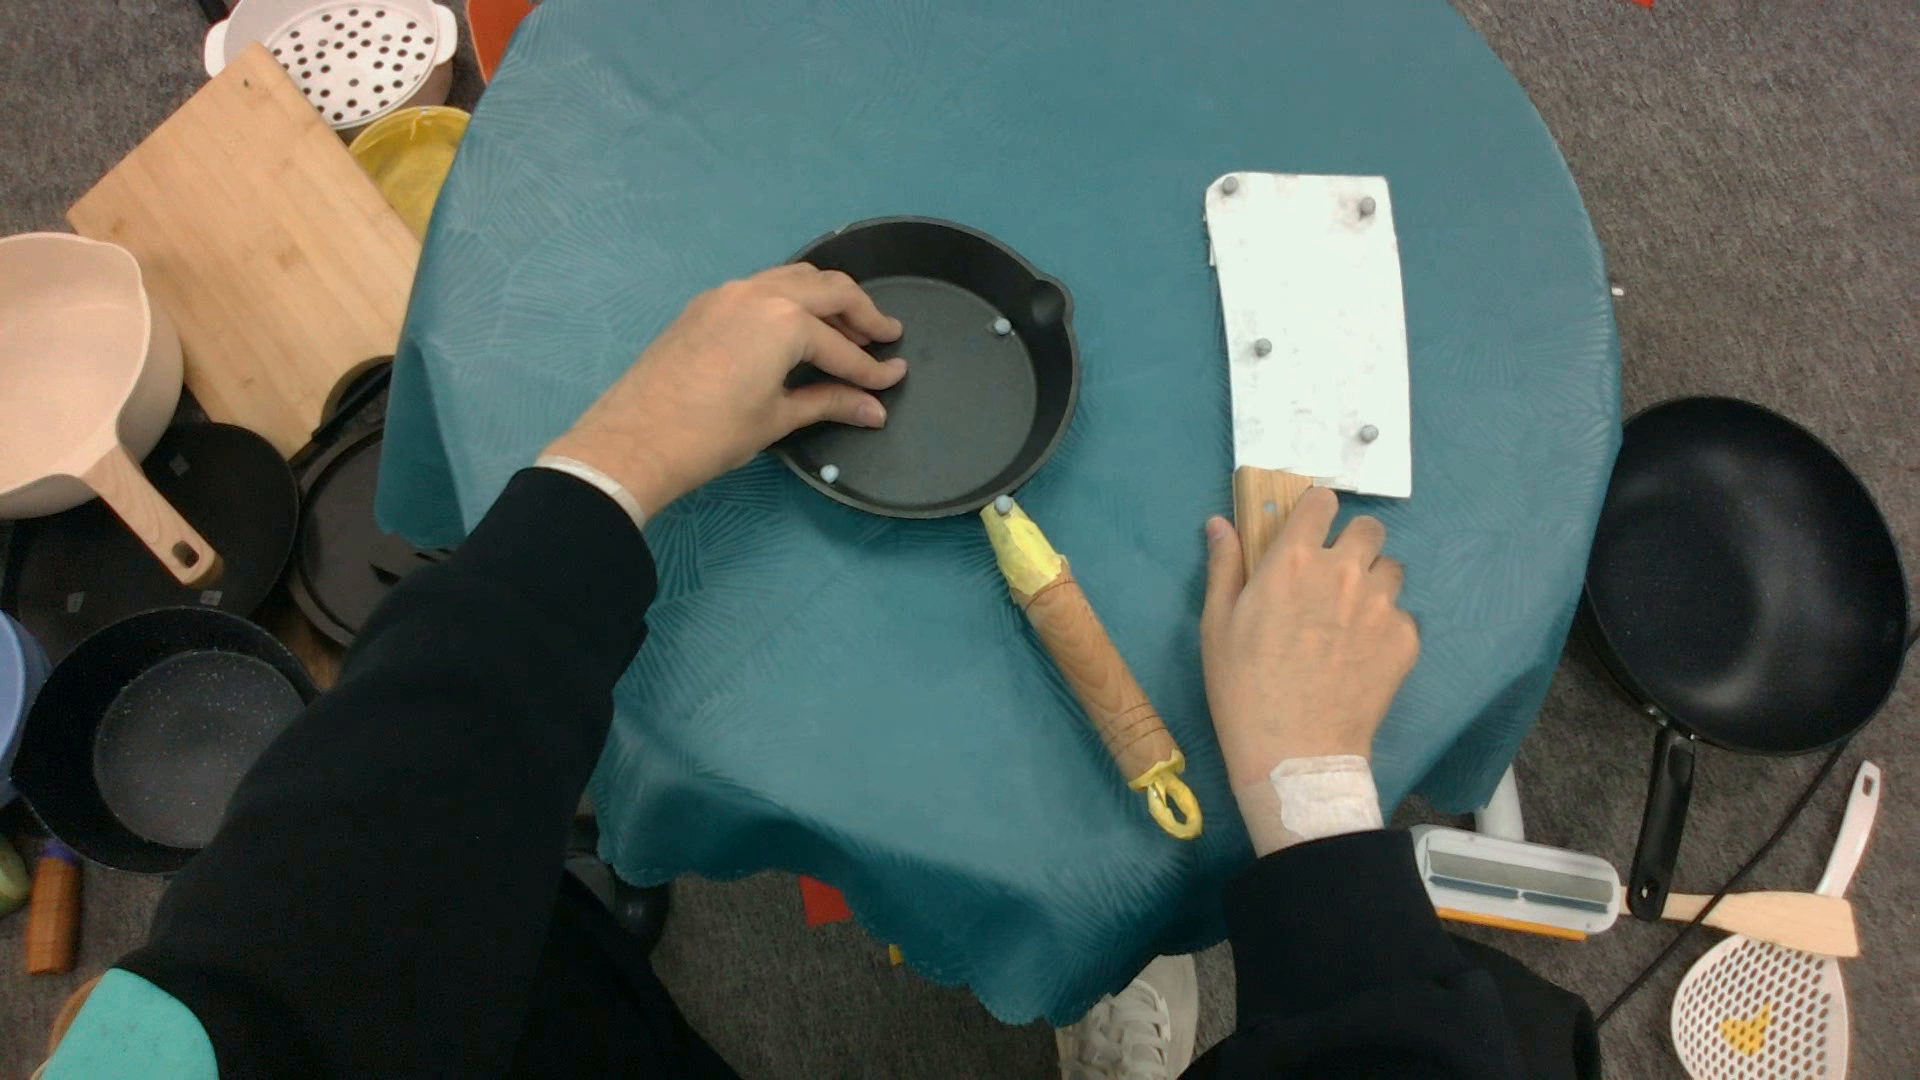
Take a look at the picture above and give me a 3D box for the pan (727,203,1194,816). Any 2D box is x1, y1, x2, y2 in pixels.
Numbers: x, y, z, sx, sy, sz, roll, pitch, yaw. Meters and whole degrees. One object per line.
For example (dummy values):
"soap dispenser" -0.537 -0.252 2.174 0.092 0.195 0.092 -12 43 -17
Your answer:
"pan" 0.011 -0.016 0.621 0.169 0.049 0.324 -25 73 -14

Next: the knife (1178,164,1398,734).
"knife" 0.158 -0.060 0.669 0.114 0.021 0.316 8 67 -4
